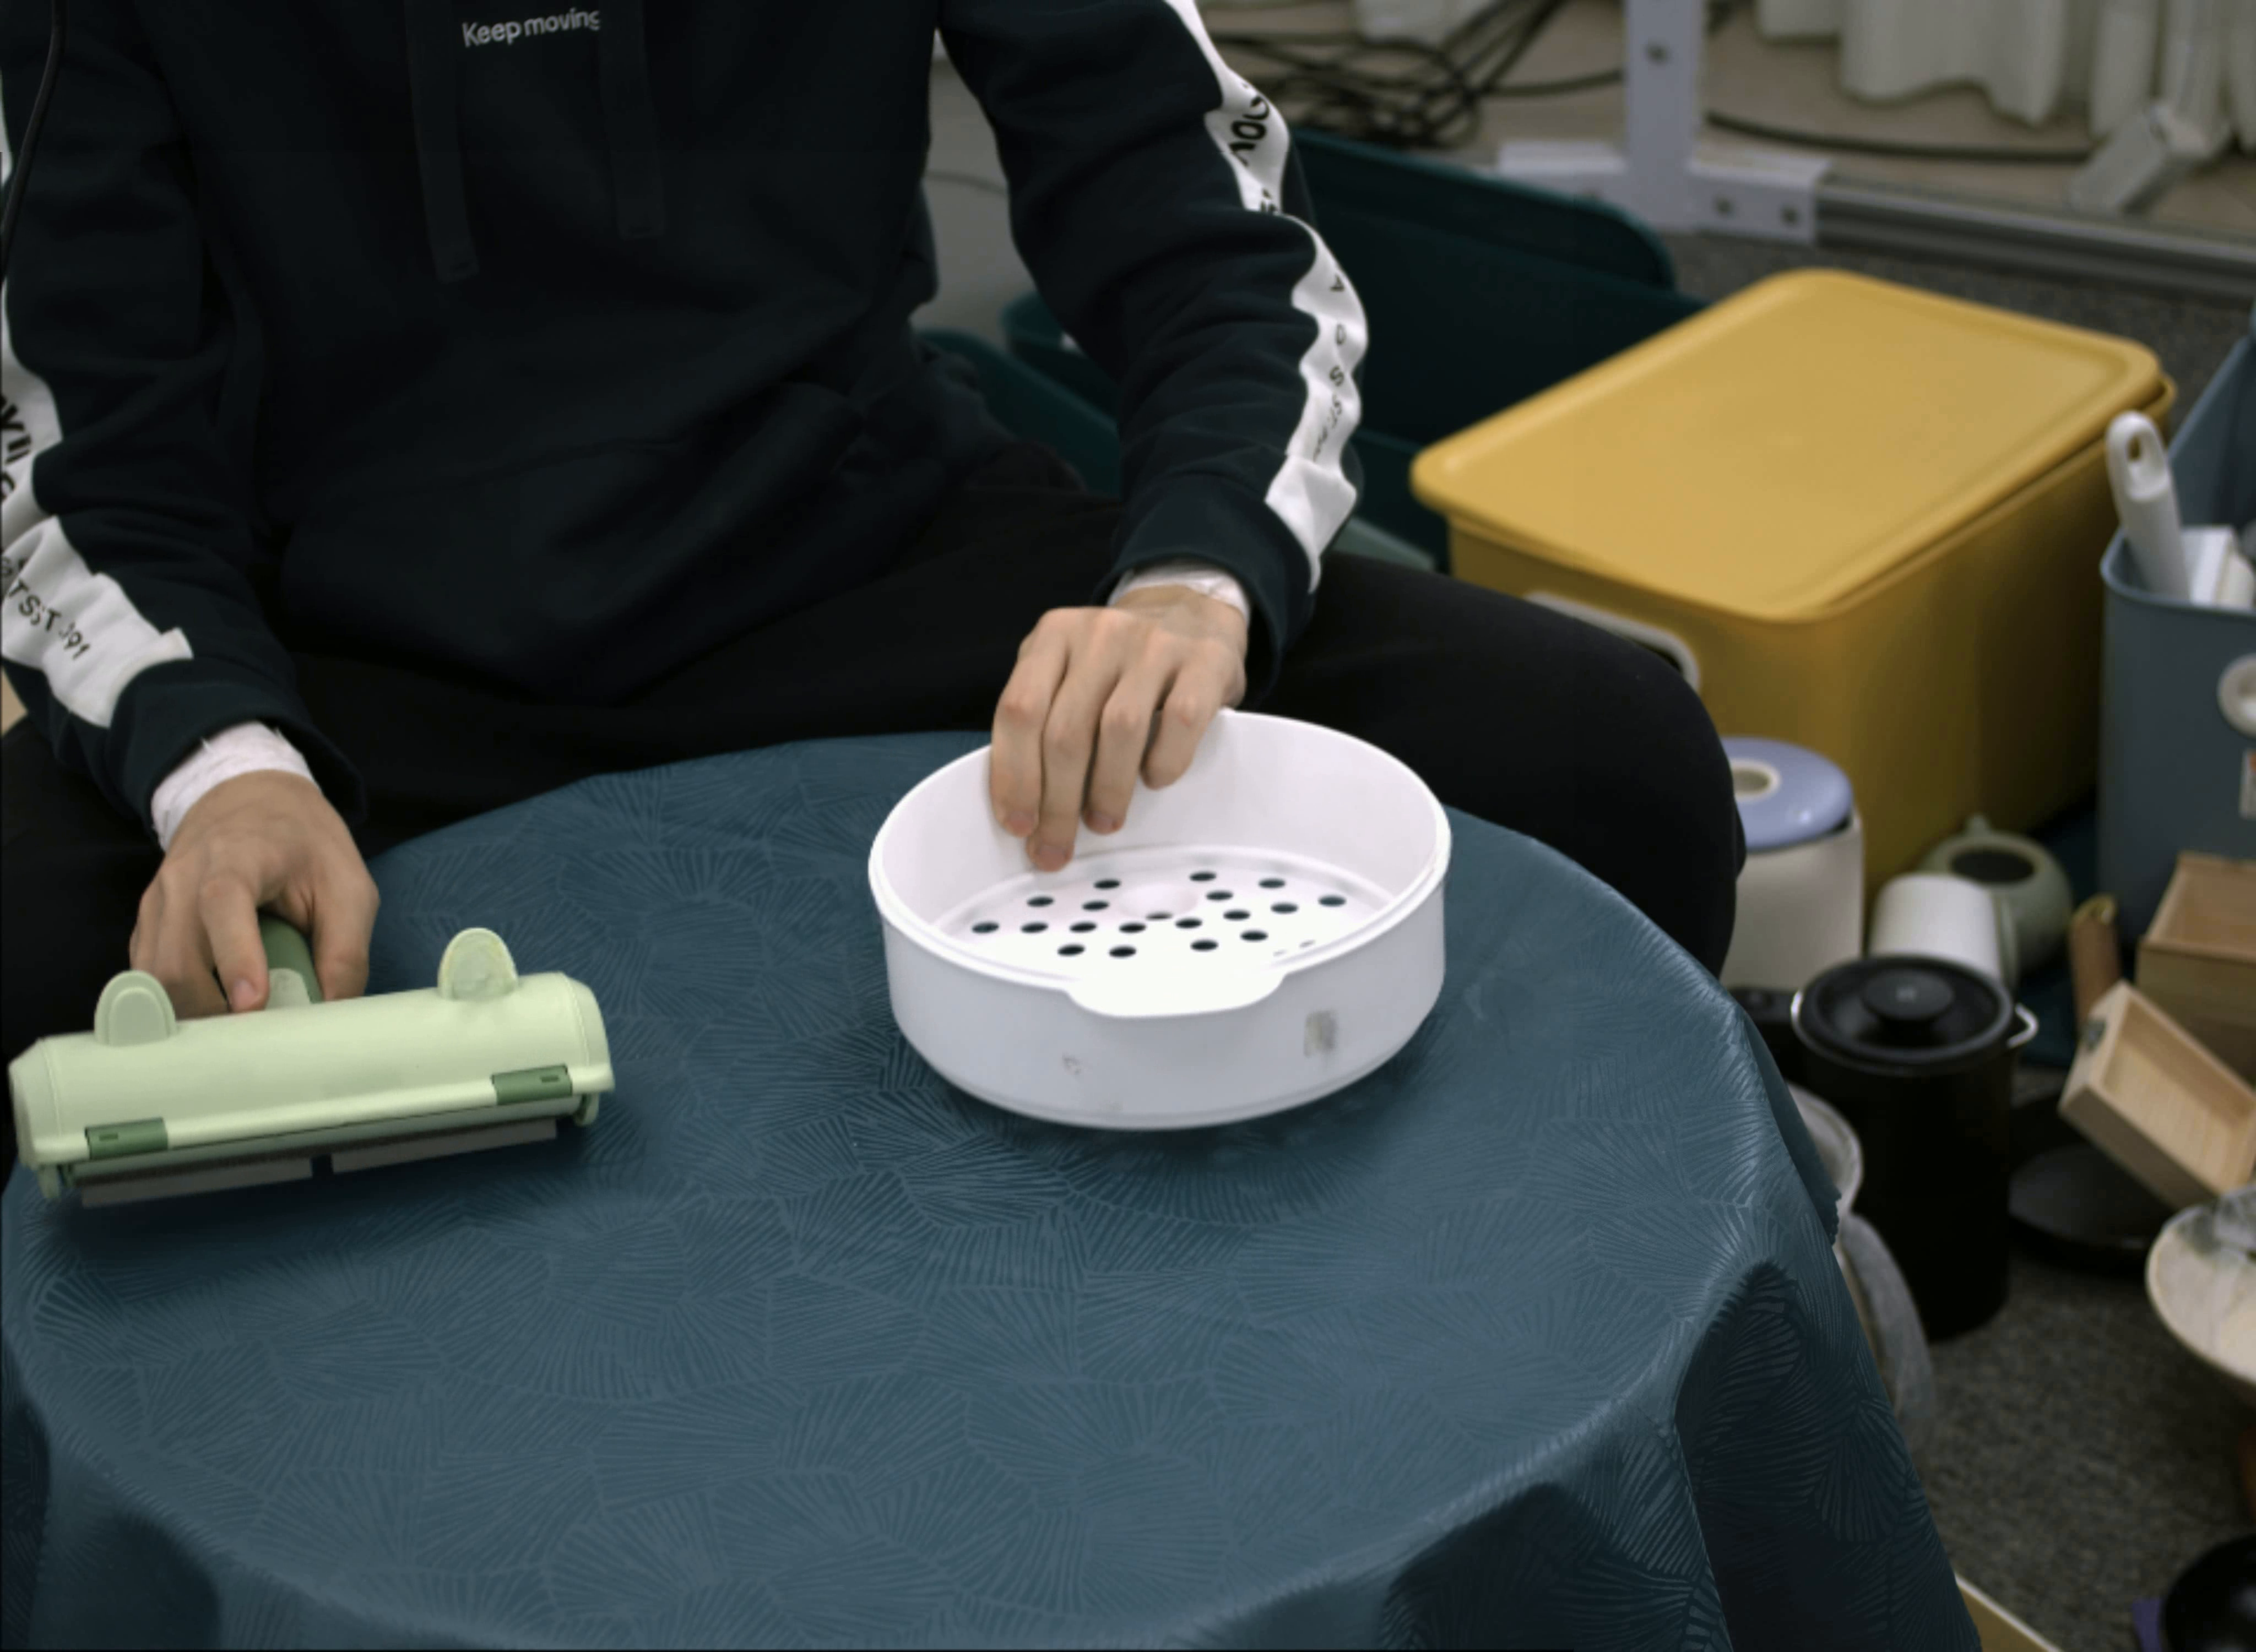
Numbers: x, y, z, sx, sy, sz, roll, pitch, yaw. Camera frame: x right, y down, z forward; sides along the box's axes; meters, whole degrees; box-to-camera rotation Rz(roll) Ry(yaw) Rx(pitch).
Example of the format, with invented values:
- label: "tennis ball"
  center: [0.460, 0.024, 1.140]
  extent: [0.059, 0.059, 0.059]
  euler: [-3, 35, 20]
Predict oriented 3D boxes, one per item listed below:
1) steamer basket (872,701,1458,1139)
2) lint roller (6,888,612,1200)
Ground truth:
- label: "steamer basket"
  center: [0.014, 0.034, 1.934]
  extent: [0.201, 0.068, 0.234]
  euler: [-5, 28, -3]
- label: "lint roller"
  center: [-0.290, 0.051, 1.919]
  extent: [0.199, 0.081, 0.185]
  euler: [-6, 34, -18]
